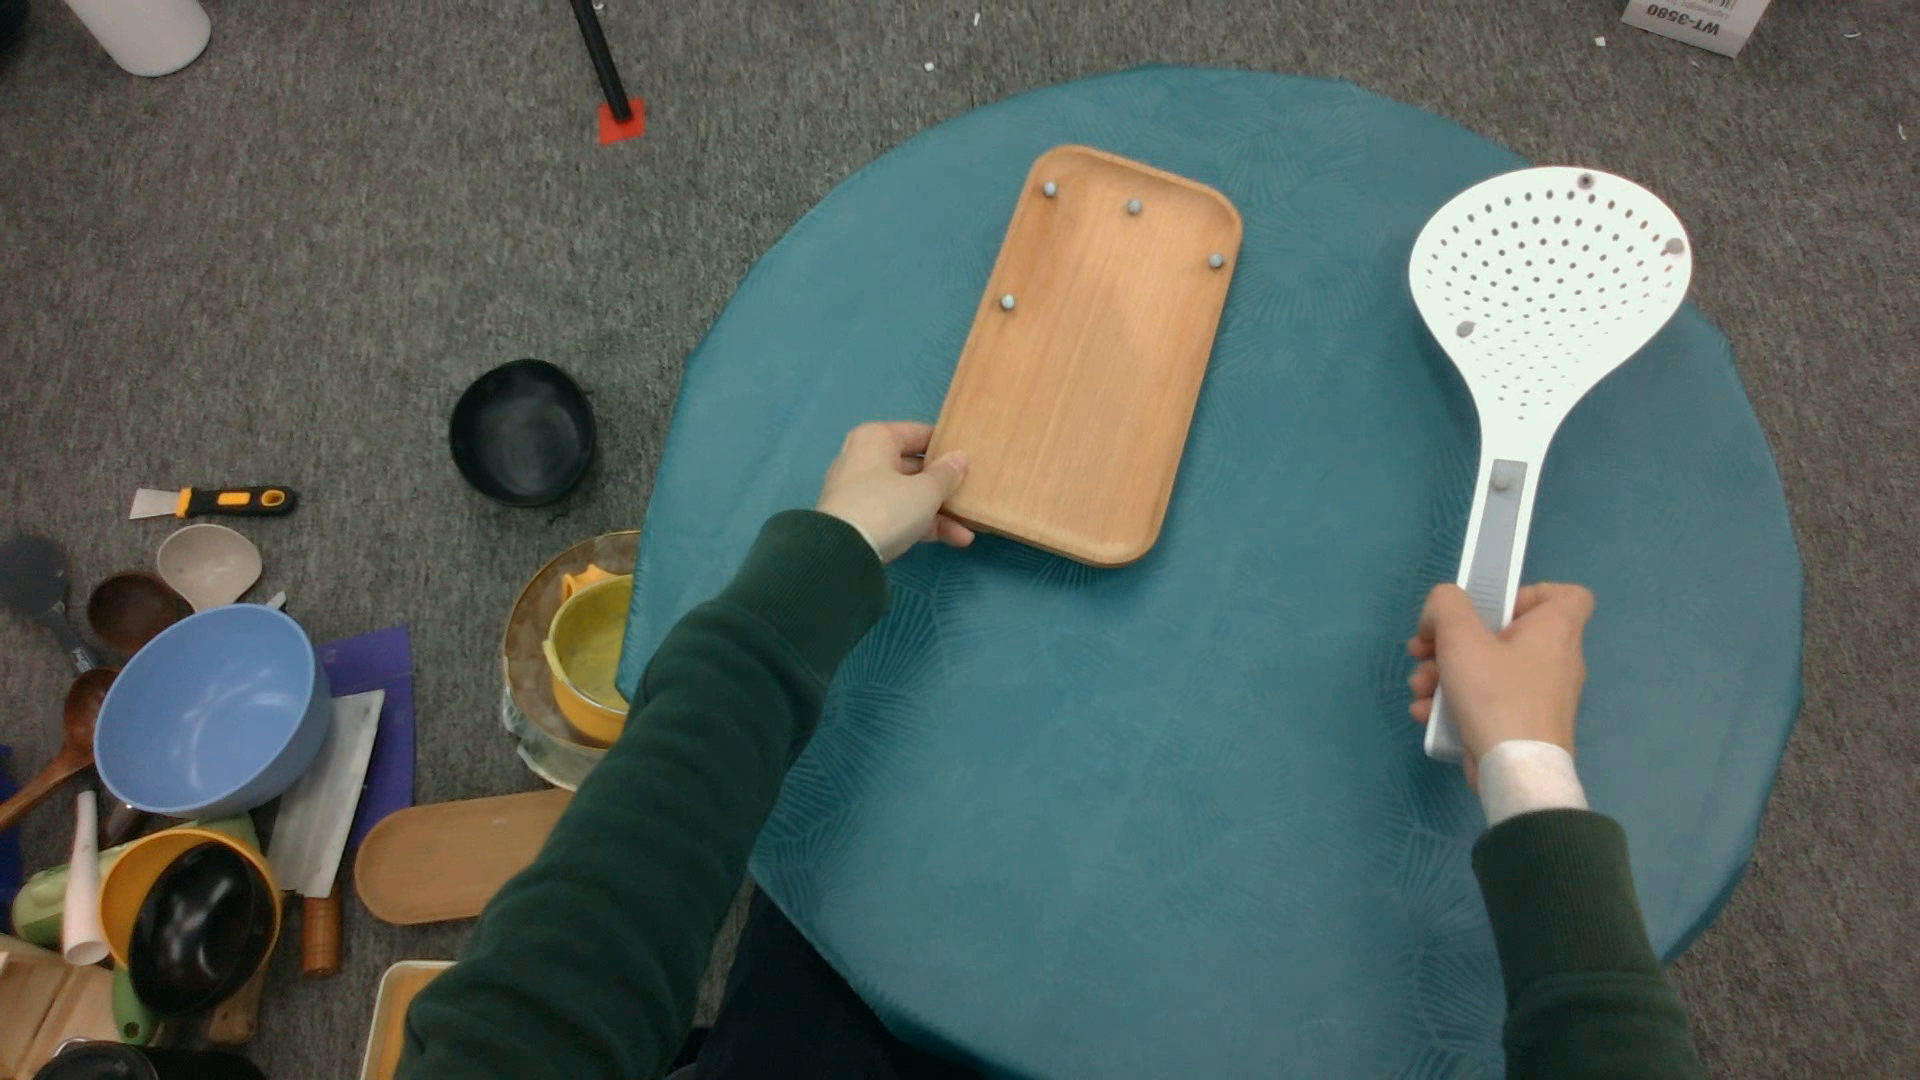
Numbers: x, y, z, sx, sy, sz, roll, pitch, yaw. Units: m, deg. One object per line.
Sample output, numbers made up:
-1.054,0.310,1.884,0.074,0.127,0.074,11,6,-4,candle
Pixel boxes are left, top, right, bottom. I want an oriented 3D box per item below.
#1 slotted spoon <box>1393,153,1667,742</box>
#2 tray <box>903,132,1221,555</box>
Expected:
0.267,-0.060,0.691,0.136,0.045,0.351,9,58,24,slotted spoon
0.060,-0.112,0.747,0.130,0.023,0.251,18,66,2,tray
